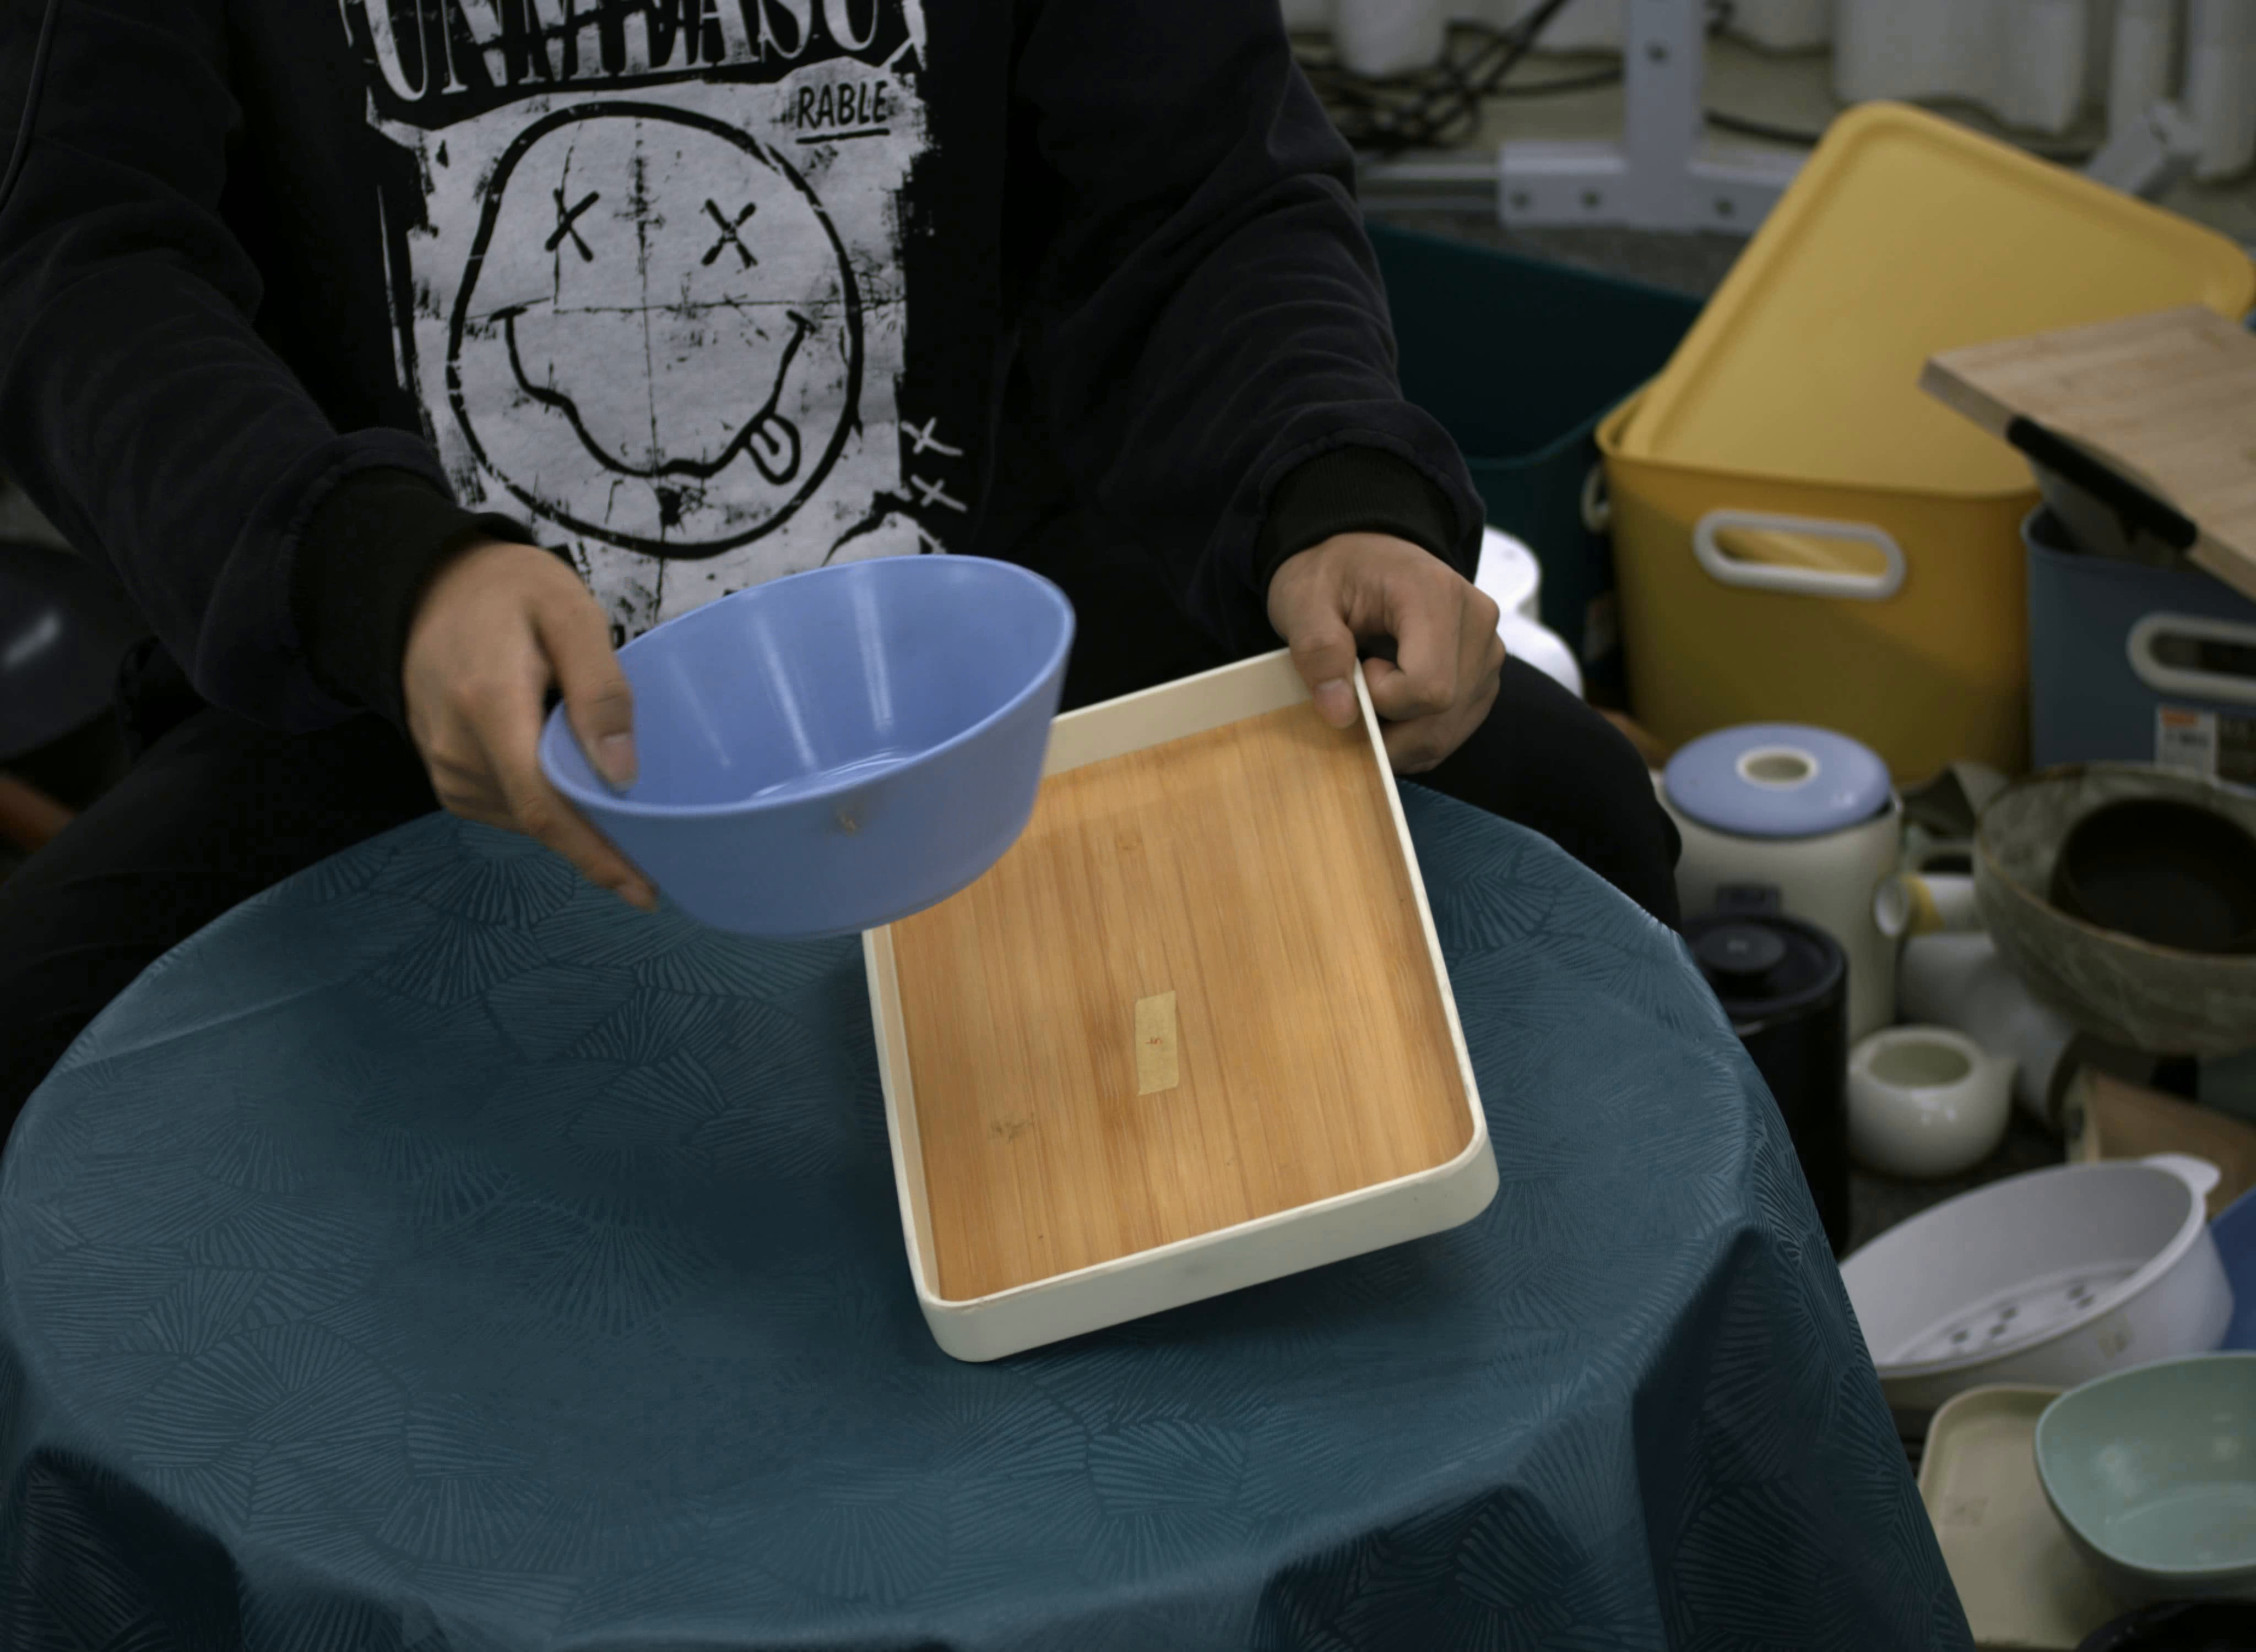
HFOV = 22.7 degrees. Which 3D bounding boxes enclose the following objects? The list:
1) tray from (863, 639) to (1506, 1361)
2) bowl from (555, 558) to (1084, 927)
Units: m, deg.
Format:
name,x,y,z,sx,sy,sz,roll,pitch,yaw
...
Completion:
name,x,y,z,sx,sy,sz,roll,pitch,yaw
tray,0.011,0.052,1.883,0.190,0.027,0.305,-16,36,3
bowl,-0.093,-0.022,1.821,0.175,0.070,0.178,-10,24,5
